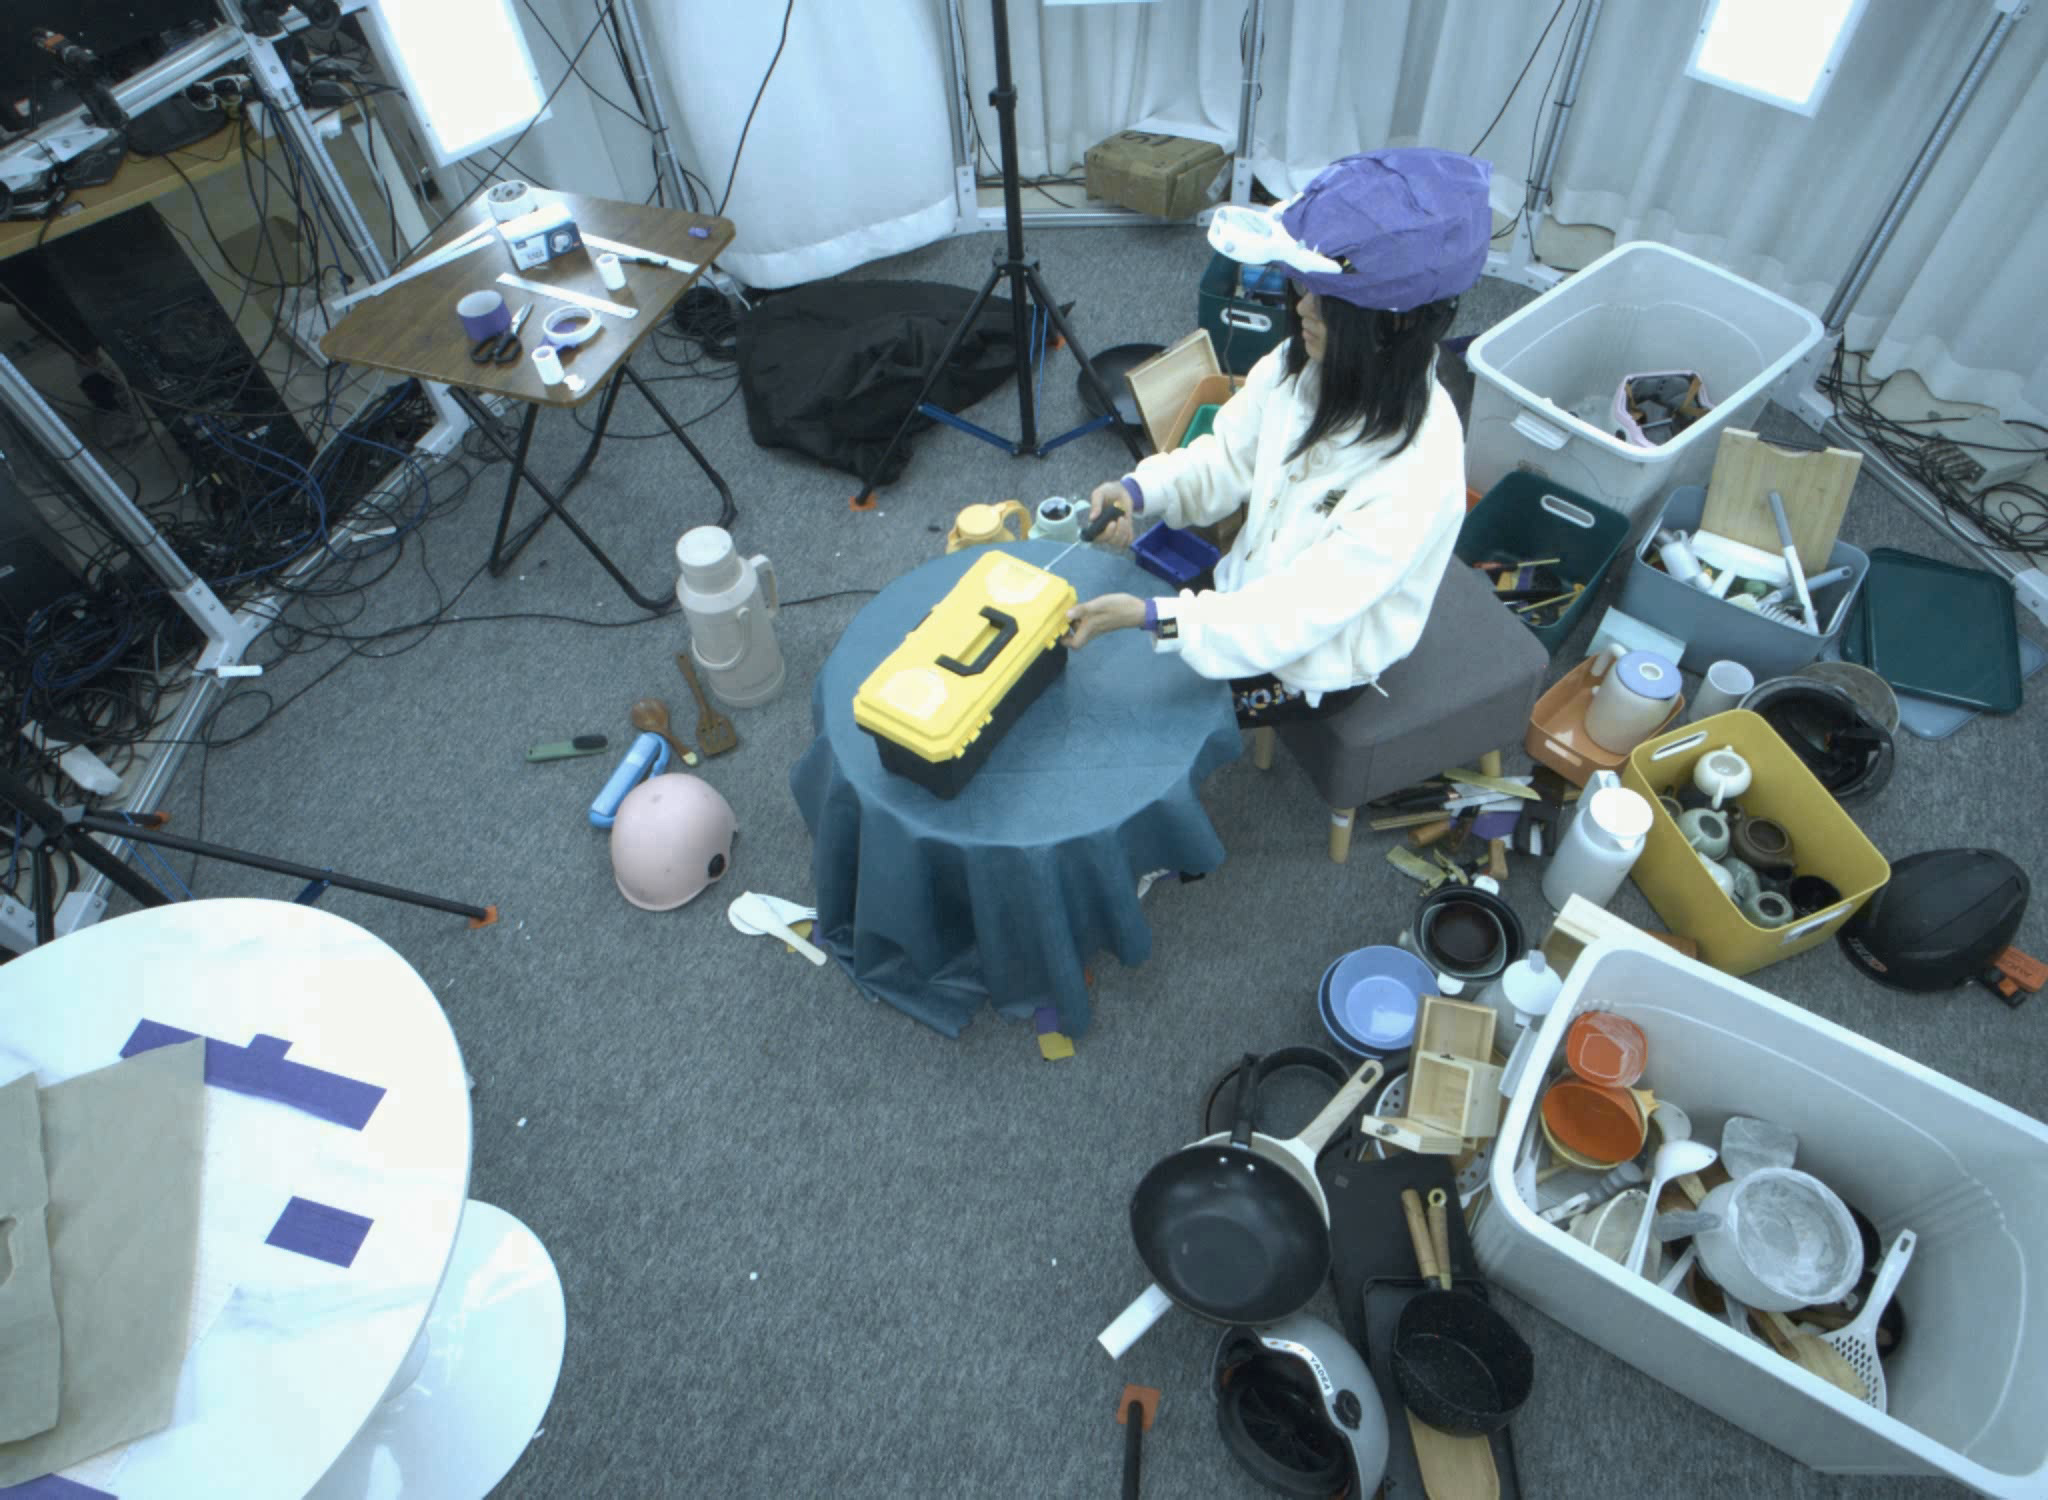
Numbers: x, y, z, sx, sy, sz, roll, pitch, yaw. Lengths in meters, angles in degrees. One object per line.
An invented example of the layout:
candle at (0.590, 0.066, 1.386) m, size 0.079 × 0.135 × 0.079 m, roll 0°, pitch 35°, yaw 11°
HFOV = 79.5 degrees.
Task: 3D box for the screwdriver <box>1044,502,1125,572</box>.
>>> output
screwdriver at (0.087, -0.311, 1.814) m, size 0.031 × 0.032 × 0.197 m, roll 30°, pitch 56°, yaw 22°

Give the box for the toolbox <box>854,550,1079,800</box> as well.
toolbox at (-0.075, -0.108, 1.760) m, size 0.178 × 0.175 × 0.353 m, roll 28°, pitch 60°, yaw 21°
